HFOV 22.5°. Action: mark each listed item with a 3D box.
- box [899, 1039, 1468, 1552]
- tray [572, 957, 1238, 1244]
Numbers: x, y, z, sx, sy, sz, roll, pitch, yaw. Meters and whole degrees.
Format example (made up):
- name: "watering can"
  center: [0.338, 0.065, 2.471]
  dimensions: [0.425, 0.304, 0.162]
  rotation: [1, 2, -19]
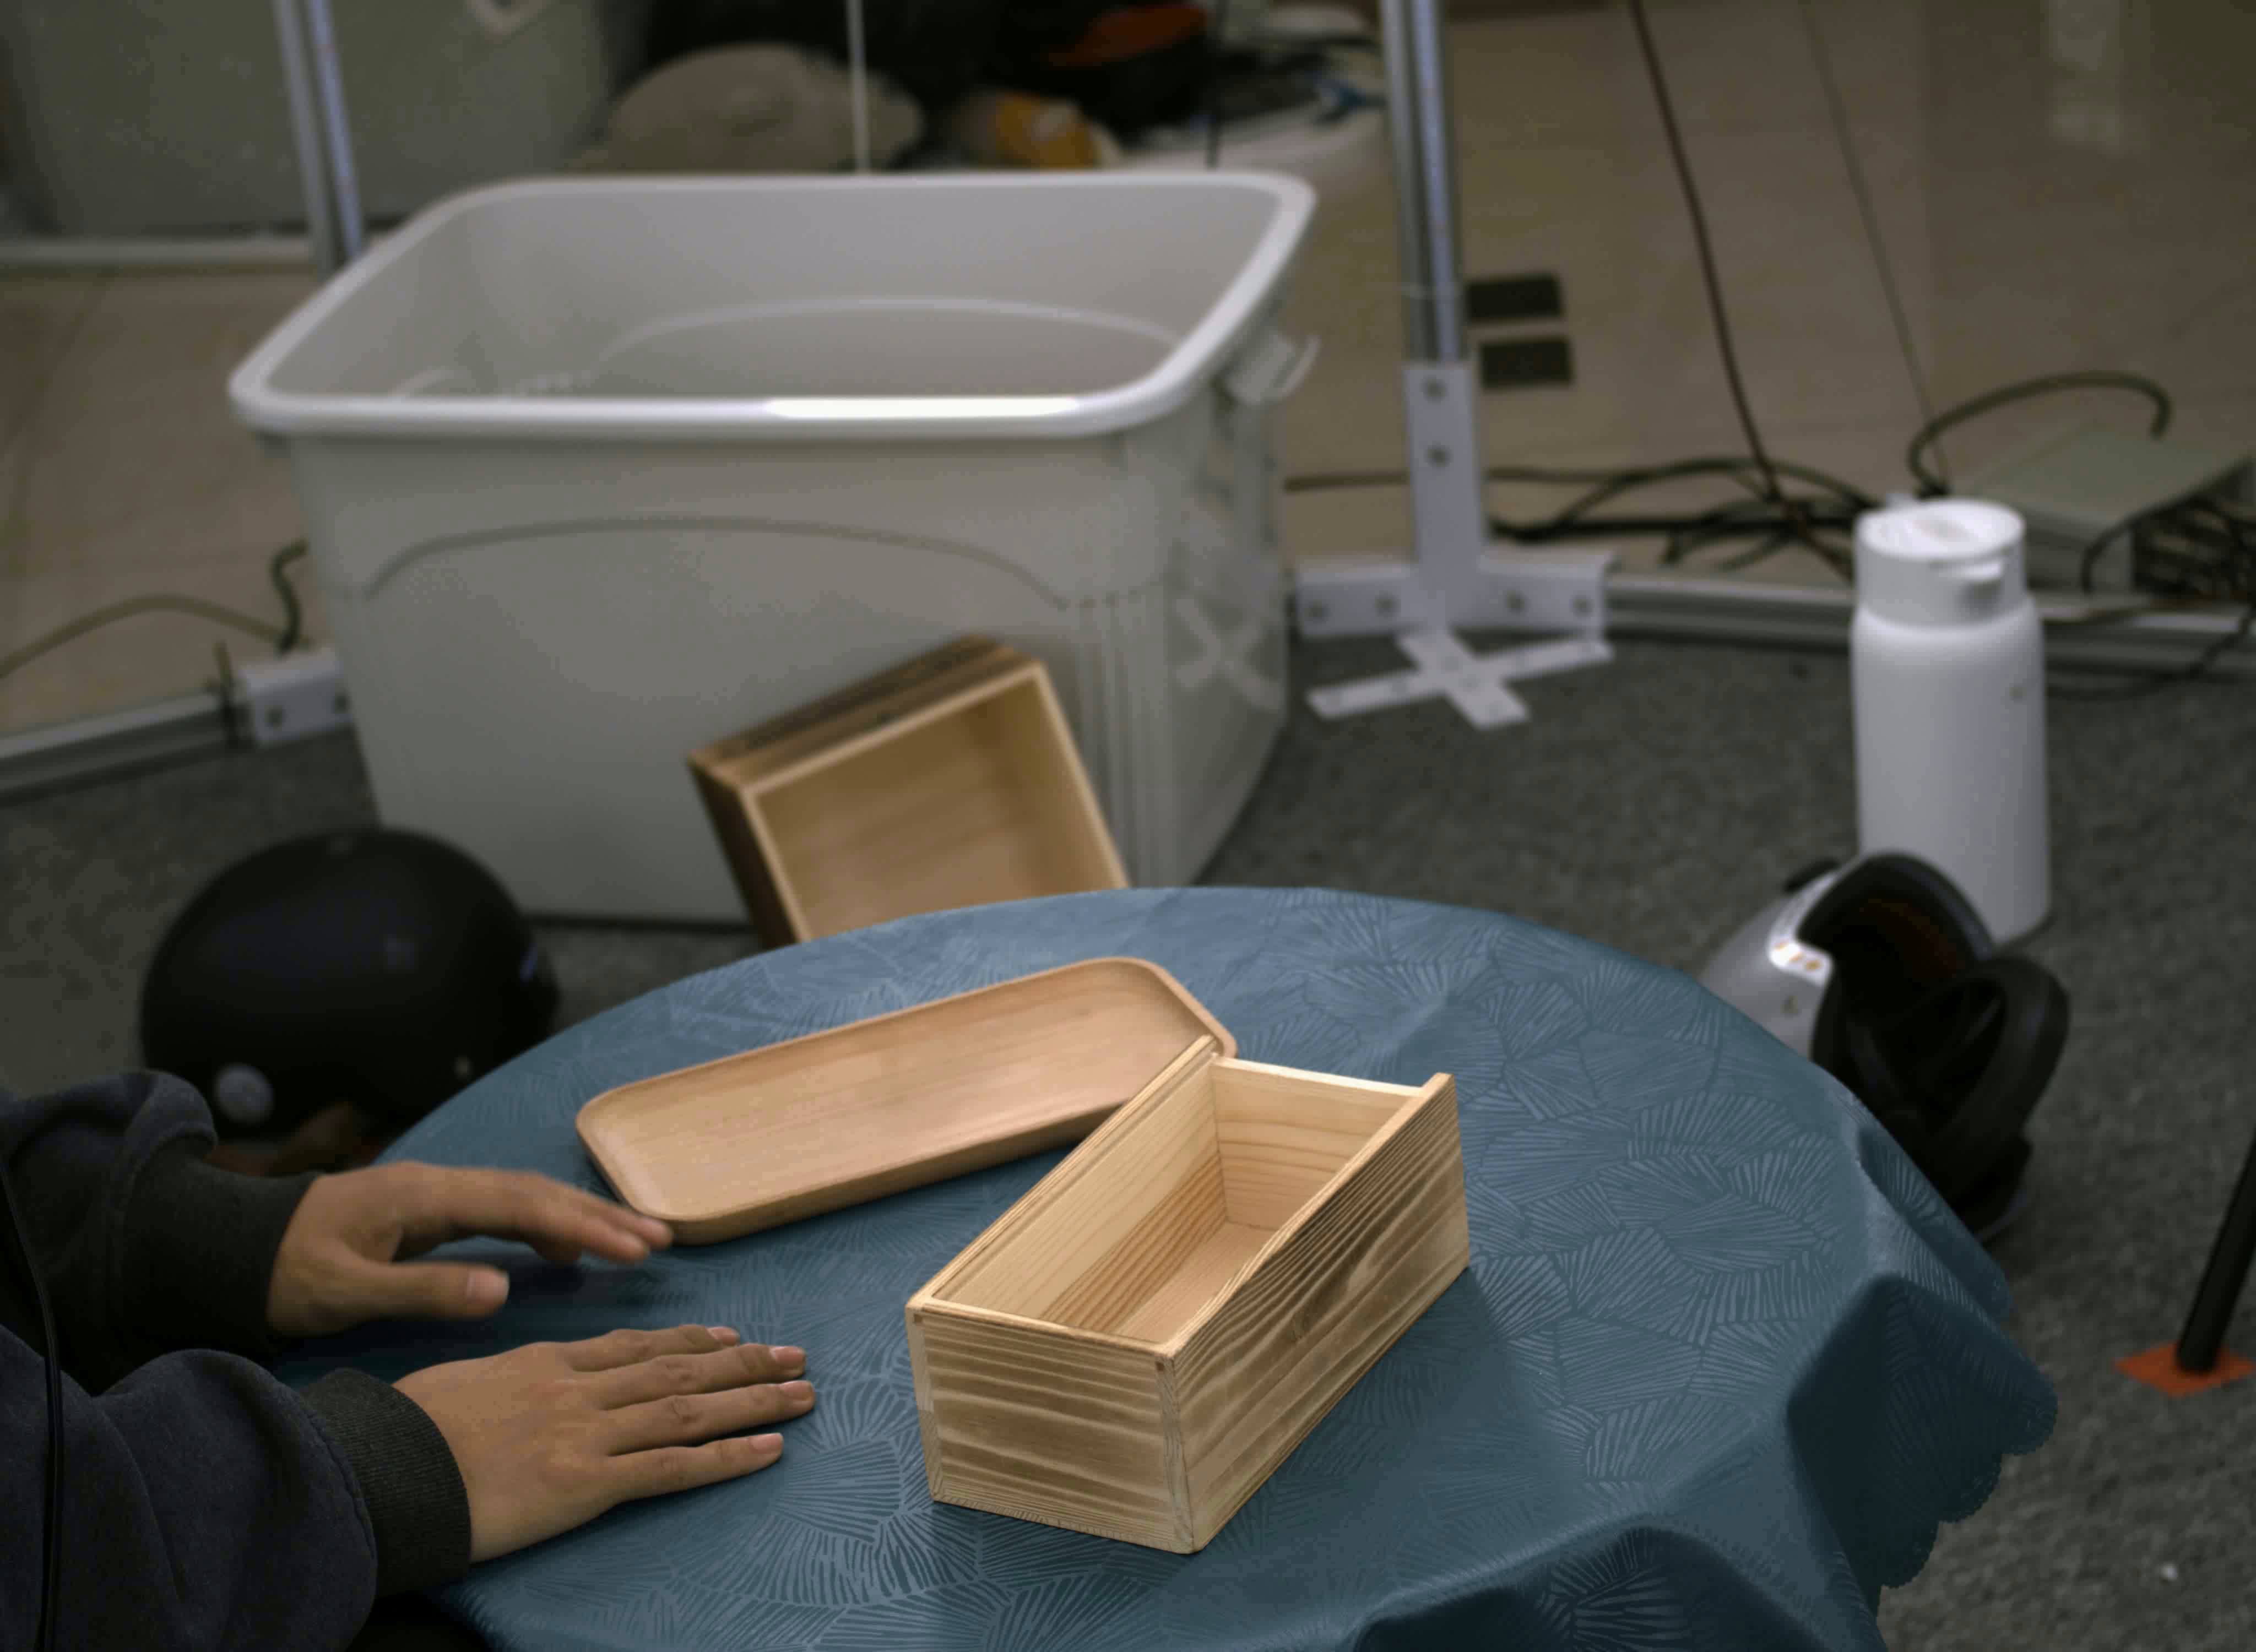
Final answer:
- name: "box"
  center: [0.023, 0.161, 1.998]
  dimensions: [0.107, 0.081, 0.209]
  rotation: [9, 29, 29]
- name: "tray"
  center: [-0.087, 0.106, 2.217]
  dimensions: [0.250, 0.023, 0.129]
  rotation: [-15, 23, -16]
